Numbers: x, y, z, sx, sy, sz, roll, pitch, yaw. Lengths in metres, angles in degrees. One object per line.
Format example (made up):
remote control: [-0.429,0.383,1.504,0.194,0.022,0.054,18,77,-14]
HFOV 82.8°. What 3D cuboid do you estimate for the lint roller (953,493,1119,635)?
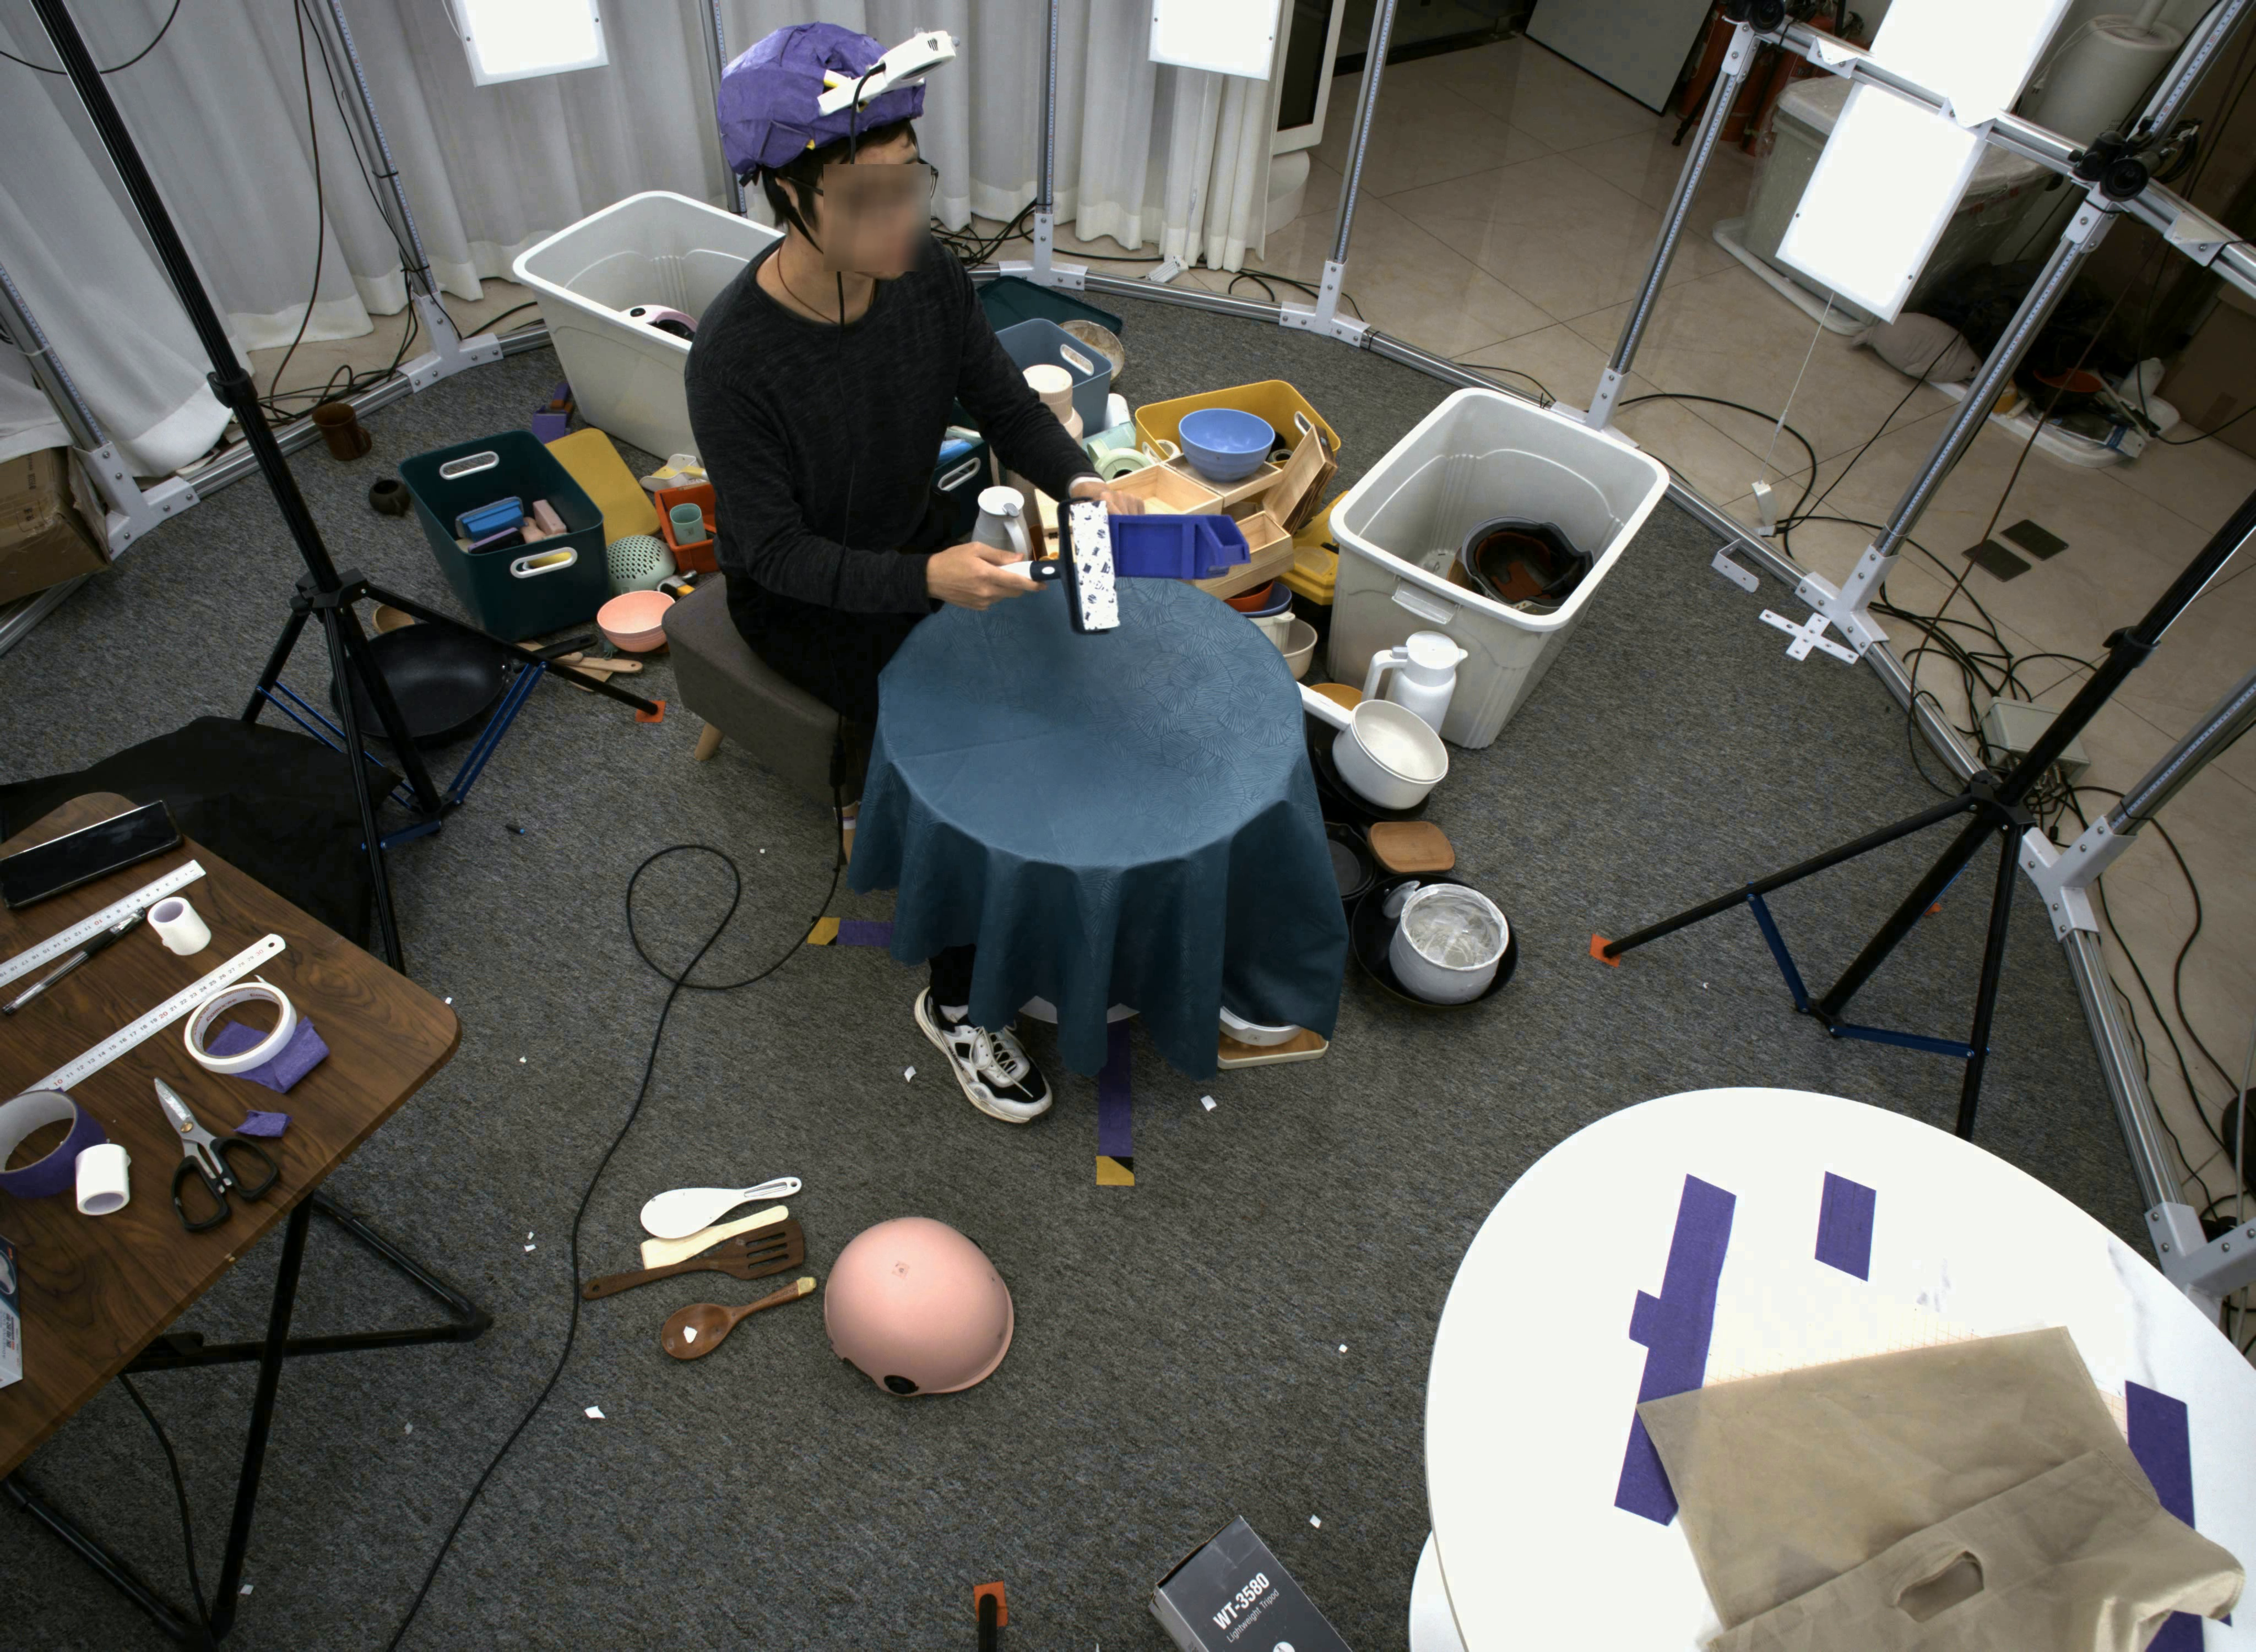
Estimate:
lint roller: [-0.131,-0.332,1.692,0.248,0.175,0.050,-1,12,28]

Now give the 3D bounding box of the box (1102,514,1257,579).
box: [0.067,-0.367,1.685,0.180,0.081,0.125,4,13,23]
